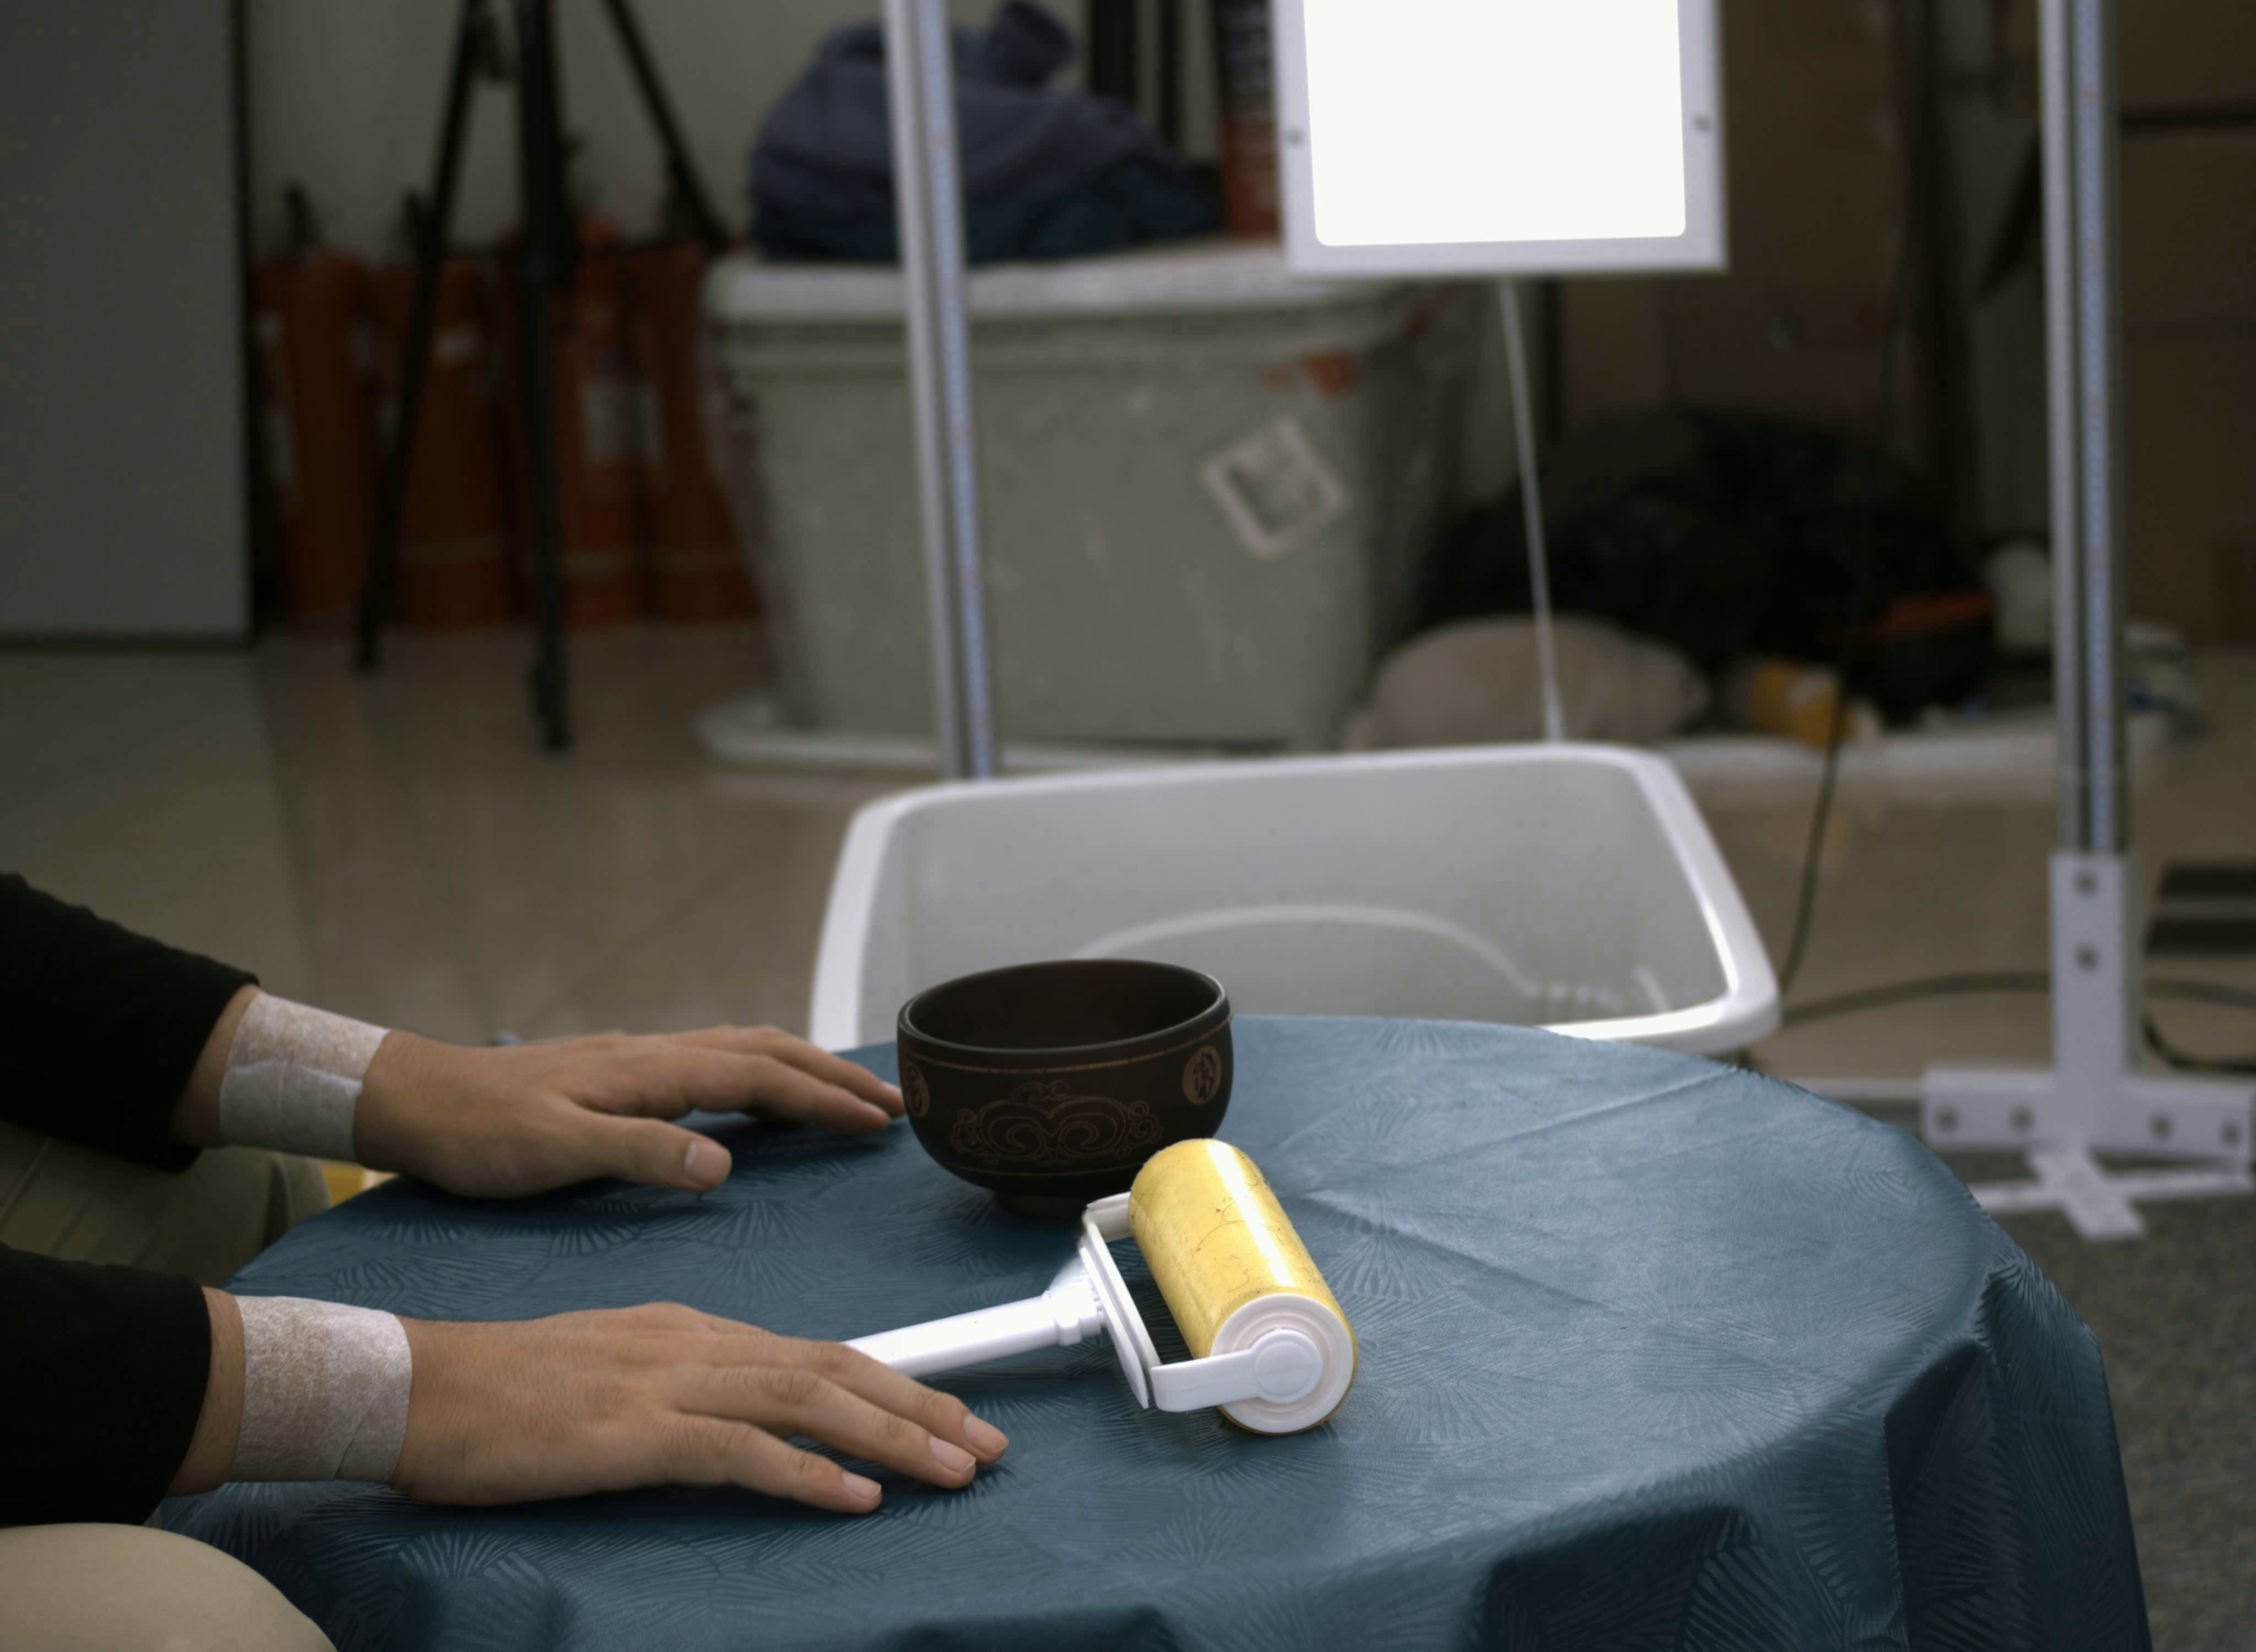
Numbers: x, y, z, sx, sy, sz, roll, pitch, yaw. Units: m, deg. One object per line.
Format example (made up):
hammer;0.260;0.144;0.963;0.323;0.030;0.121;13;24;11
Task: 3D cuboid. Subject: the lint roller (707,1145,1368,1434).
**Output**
lint roller;-0.035;0.148;1.713;0.190;0.051;0.175;-2;13;-8

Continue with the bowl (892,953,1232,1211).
bowl;-0.022;0.091;1.893;0.117;0.070;0.118;-4;13;0
